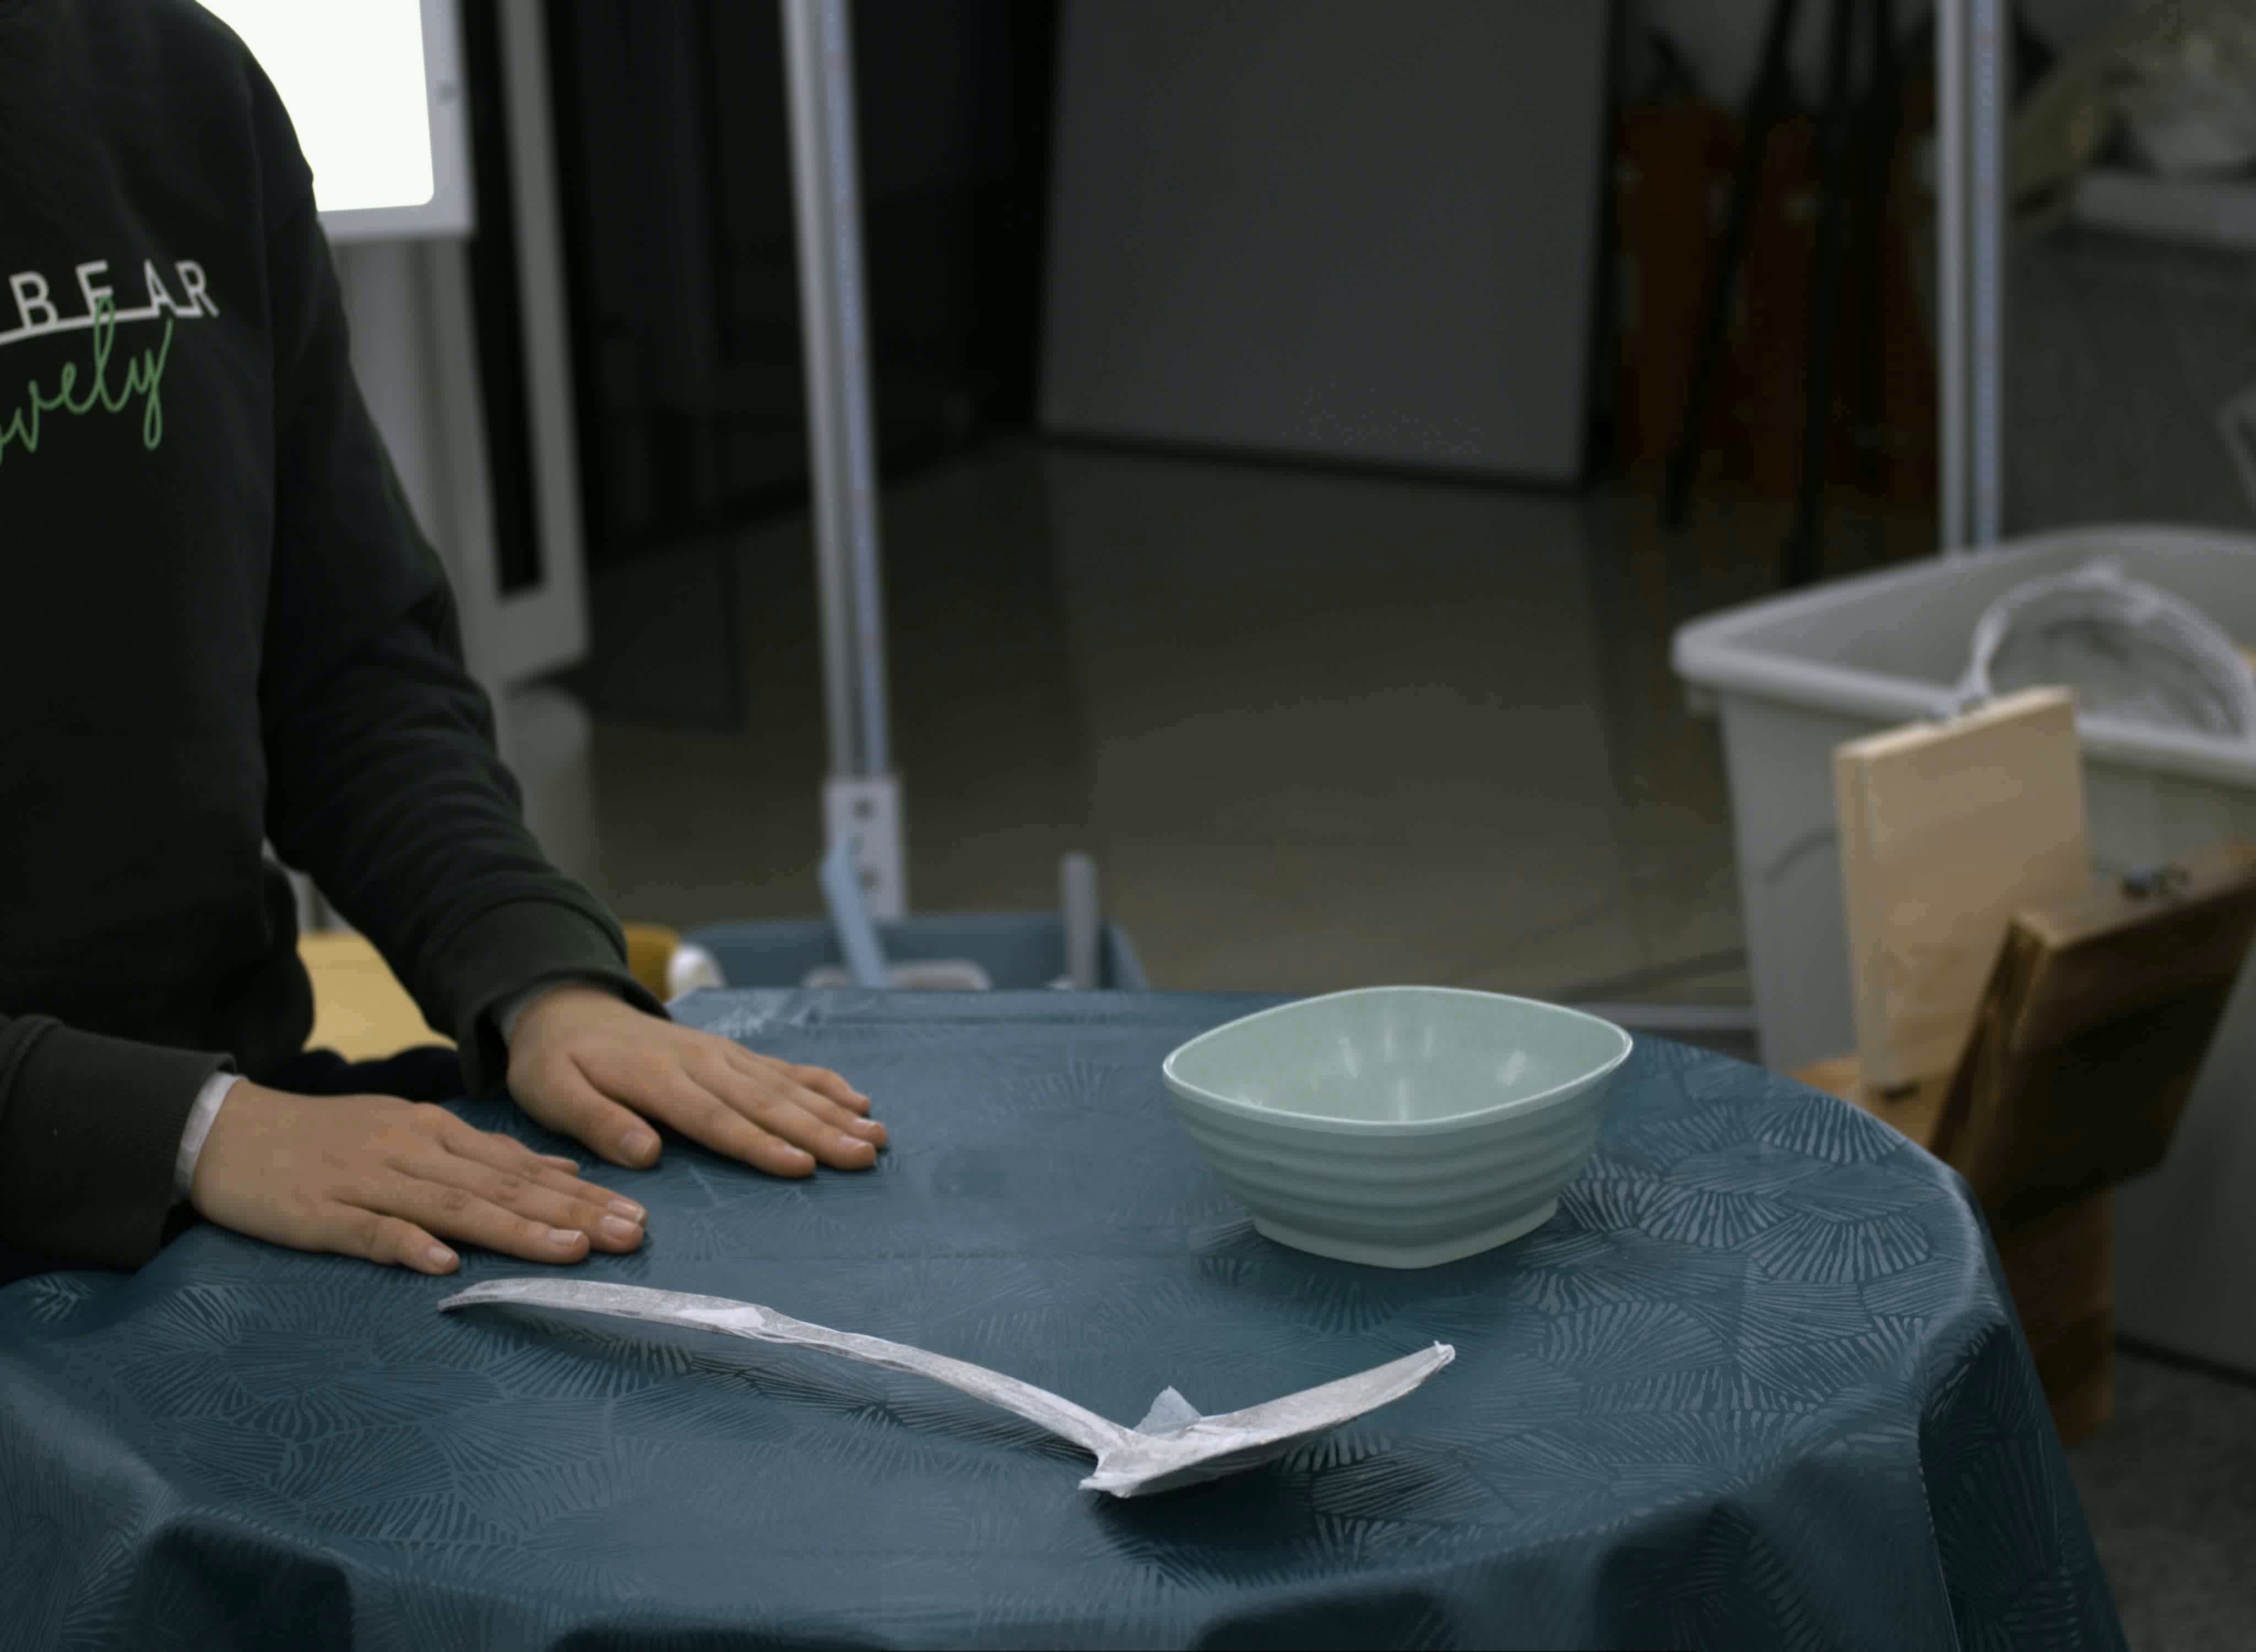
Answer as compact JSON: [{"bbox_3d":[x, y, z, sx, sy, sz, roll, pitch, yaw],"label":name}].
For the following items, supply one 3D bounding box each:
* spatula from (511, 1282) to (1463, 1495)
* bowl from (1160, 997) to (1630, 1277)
[{"bbox_3d":[-0.062,0.153,1.582,0.368,0.045,0.097,8,20,40],"label":"spatula"},{"bbox_3d":[0.086,0.101,1.715,0.149,0.059,0.151,-3,13,0],"label":"bowl"}]
